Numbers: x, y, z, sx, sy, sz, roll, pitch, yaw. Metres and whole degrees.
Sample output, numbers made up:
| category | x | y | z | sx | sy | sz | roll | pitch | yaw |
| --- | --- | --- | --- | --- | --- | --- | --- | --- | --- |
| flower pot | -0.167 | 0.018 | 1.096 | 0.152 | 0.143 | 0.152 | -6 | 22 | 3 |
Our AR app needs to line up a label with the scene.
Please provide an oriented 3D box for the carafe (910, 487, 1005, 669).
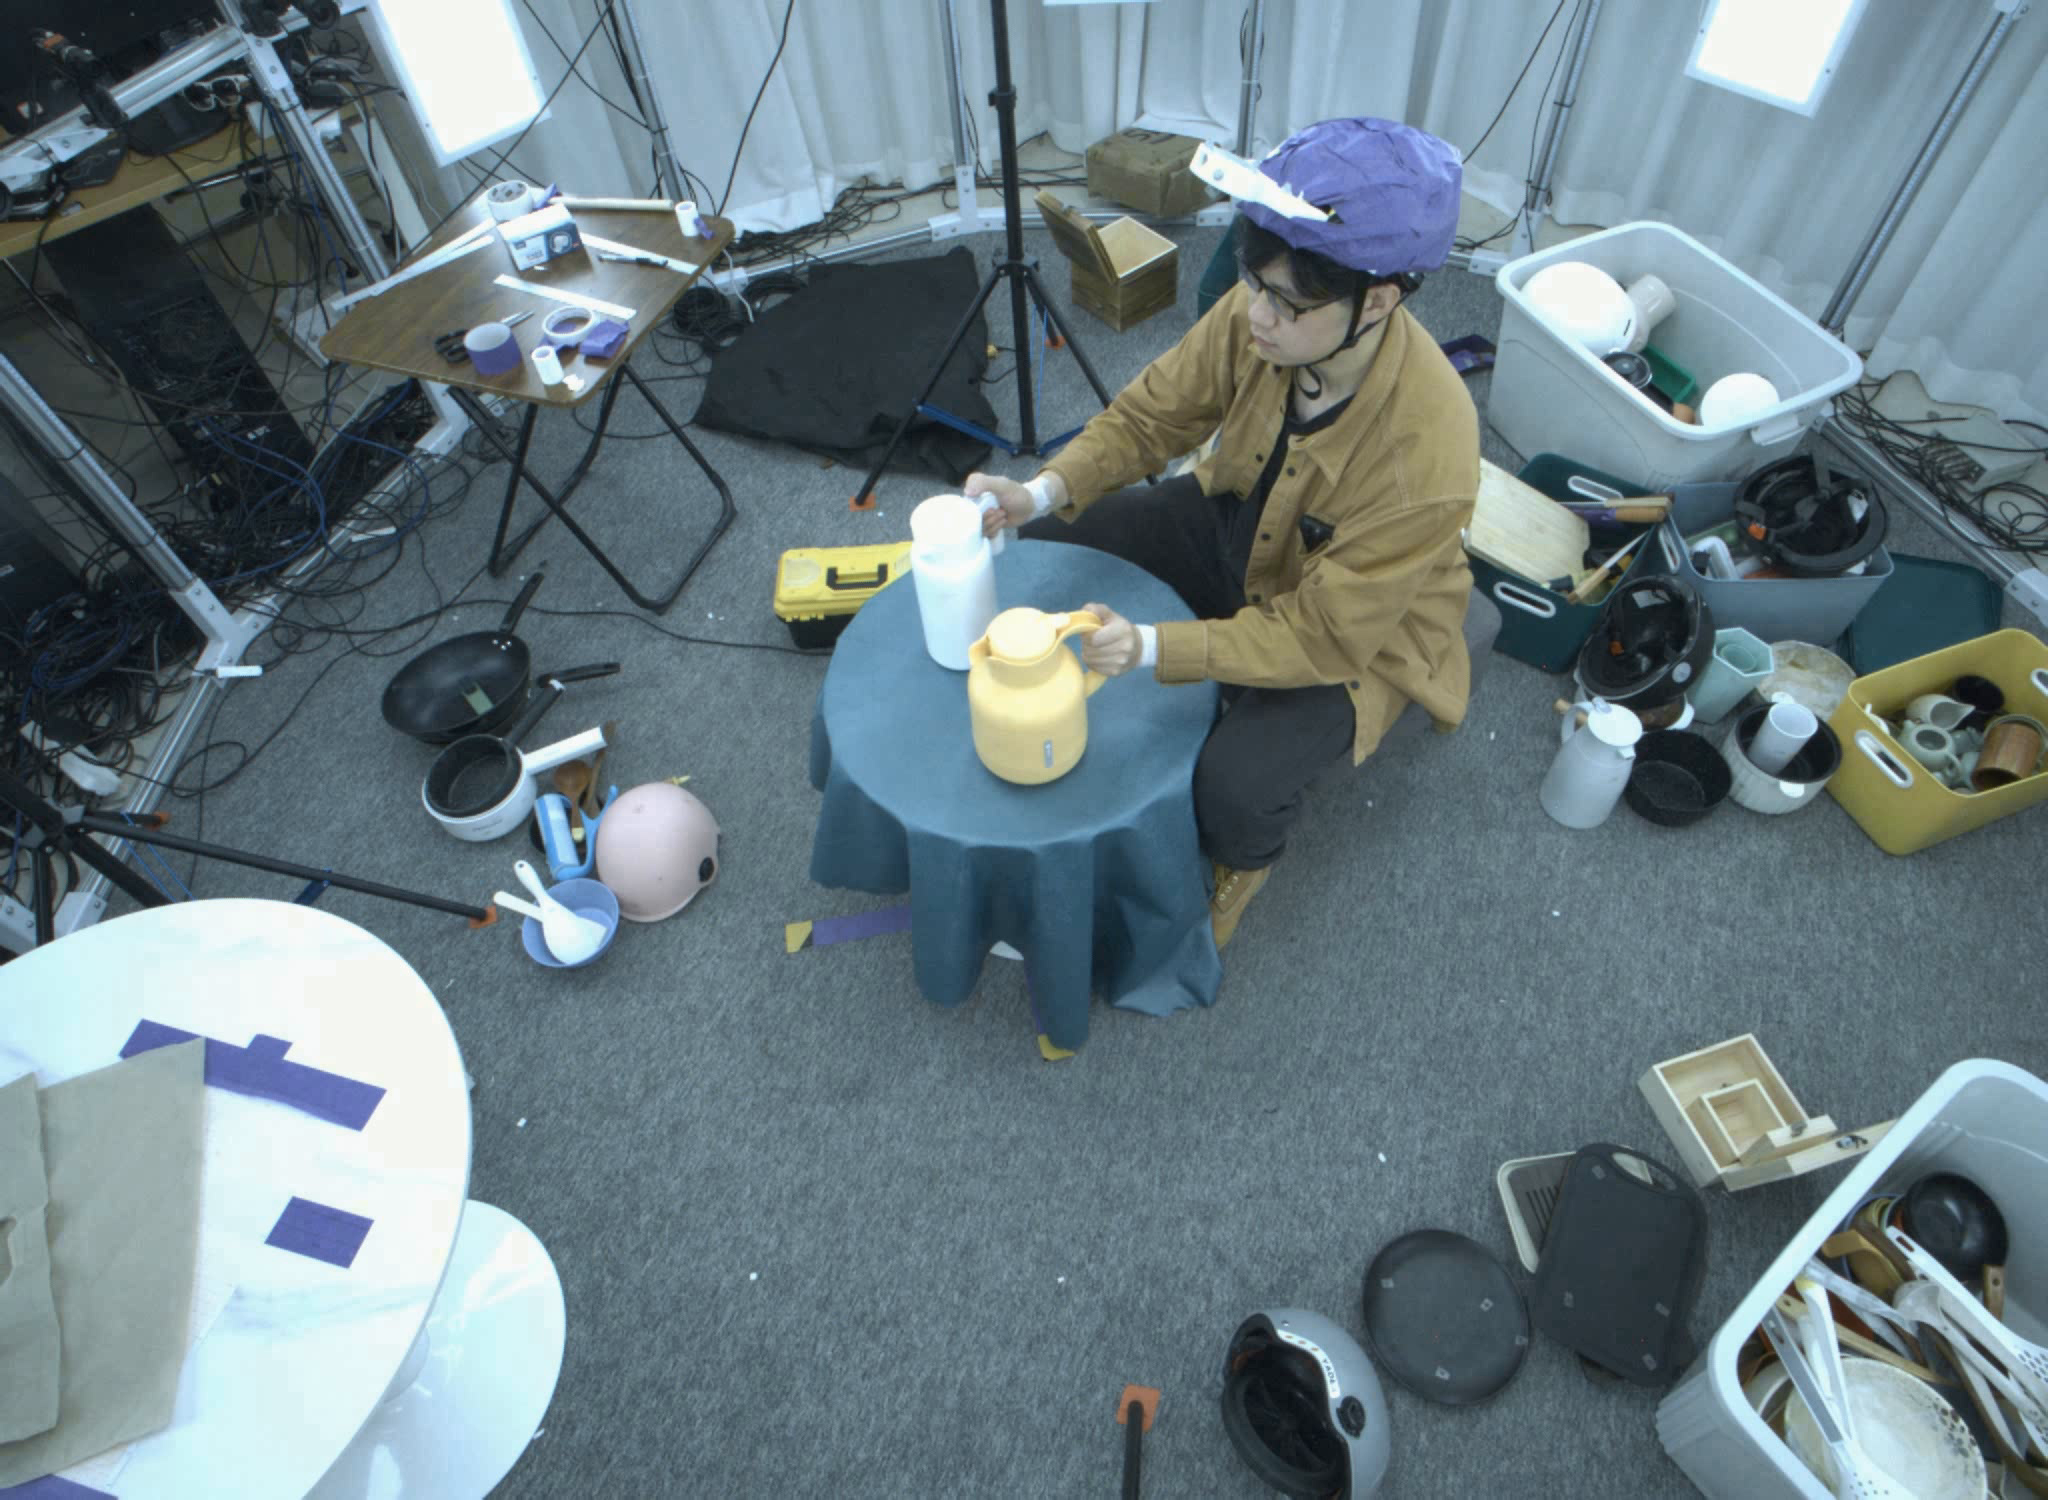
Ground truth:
| category | x | y | z | sx | sy | sz | roll | pitch | yaw |
| --- | --- | --- | --- | --- | --- | --- | --- | --- | --- |
| carafe | -0.092 | -0.256 | 1.803 | 0.122 | 0.272 | 0.173 | 27 | 61 | 23 |

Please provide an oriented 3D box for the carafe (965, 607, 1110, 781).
| category | x | y | z | sx | sy | sz | roll | pitch | yaw |
| --- | --- | --- | --- | --- | --- | --- | --- | --- | --- |
| carafe | 0.022 | -0.087 | 1.681 | 0.203 | 0.263 | 0.161 | -19 | 58 | -8 |
